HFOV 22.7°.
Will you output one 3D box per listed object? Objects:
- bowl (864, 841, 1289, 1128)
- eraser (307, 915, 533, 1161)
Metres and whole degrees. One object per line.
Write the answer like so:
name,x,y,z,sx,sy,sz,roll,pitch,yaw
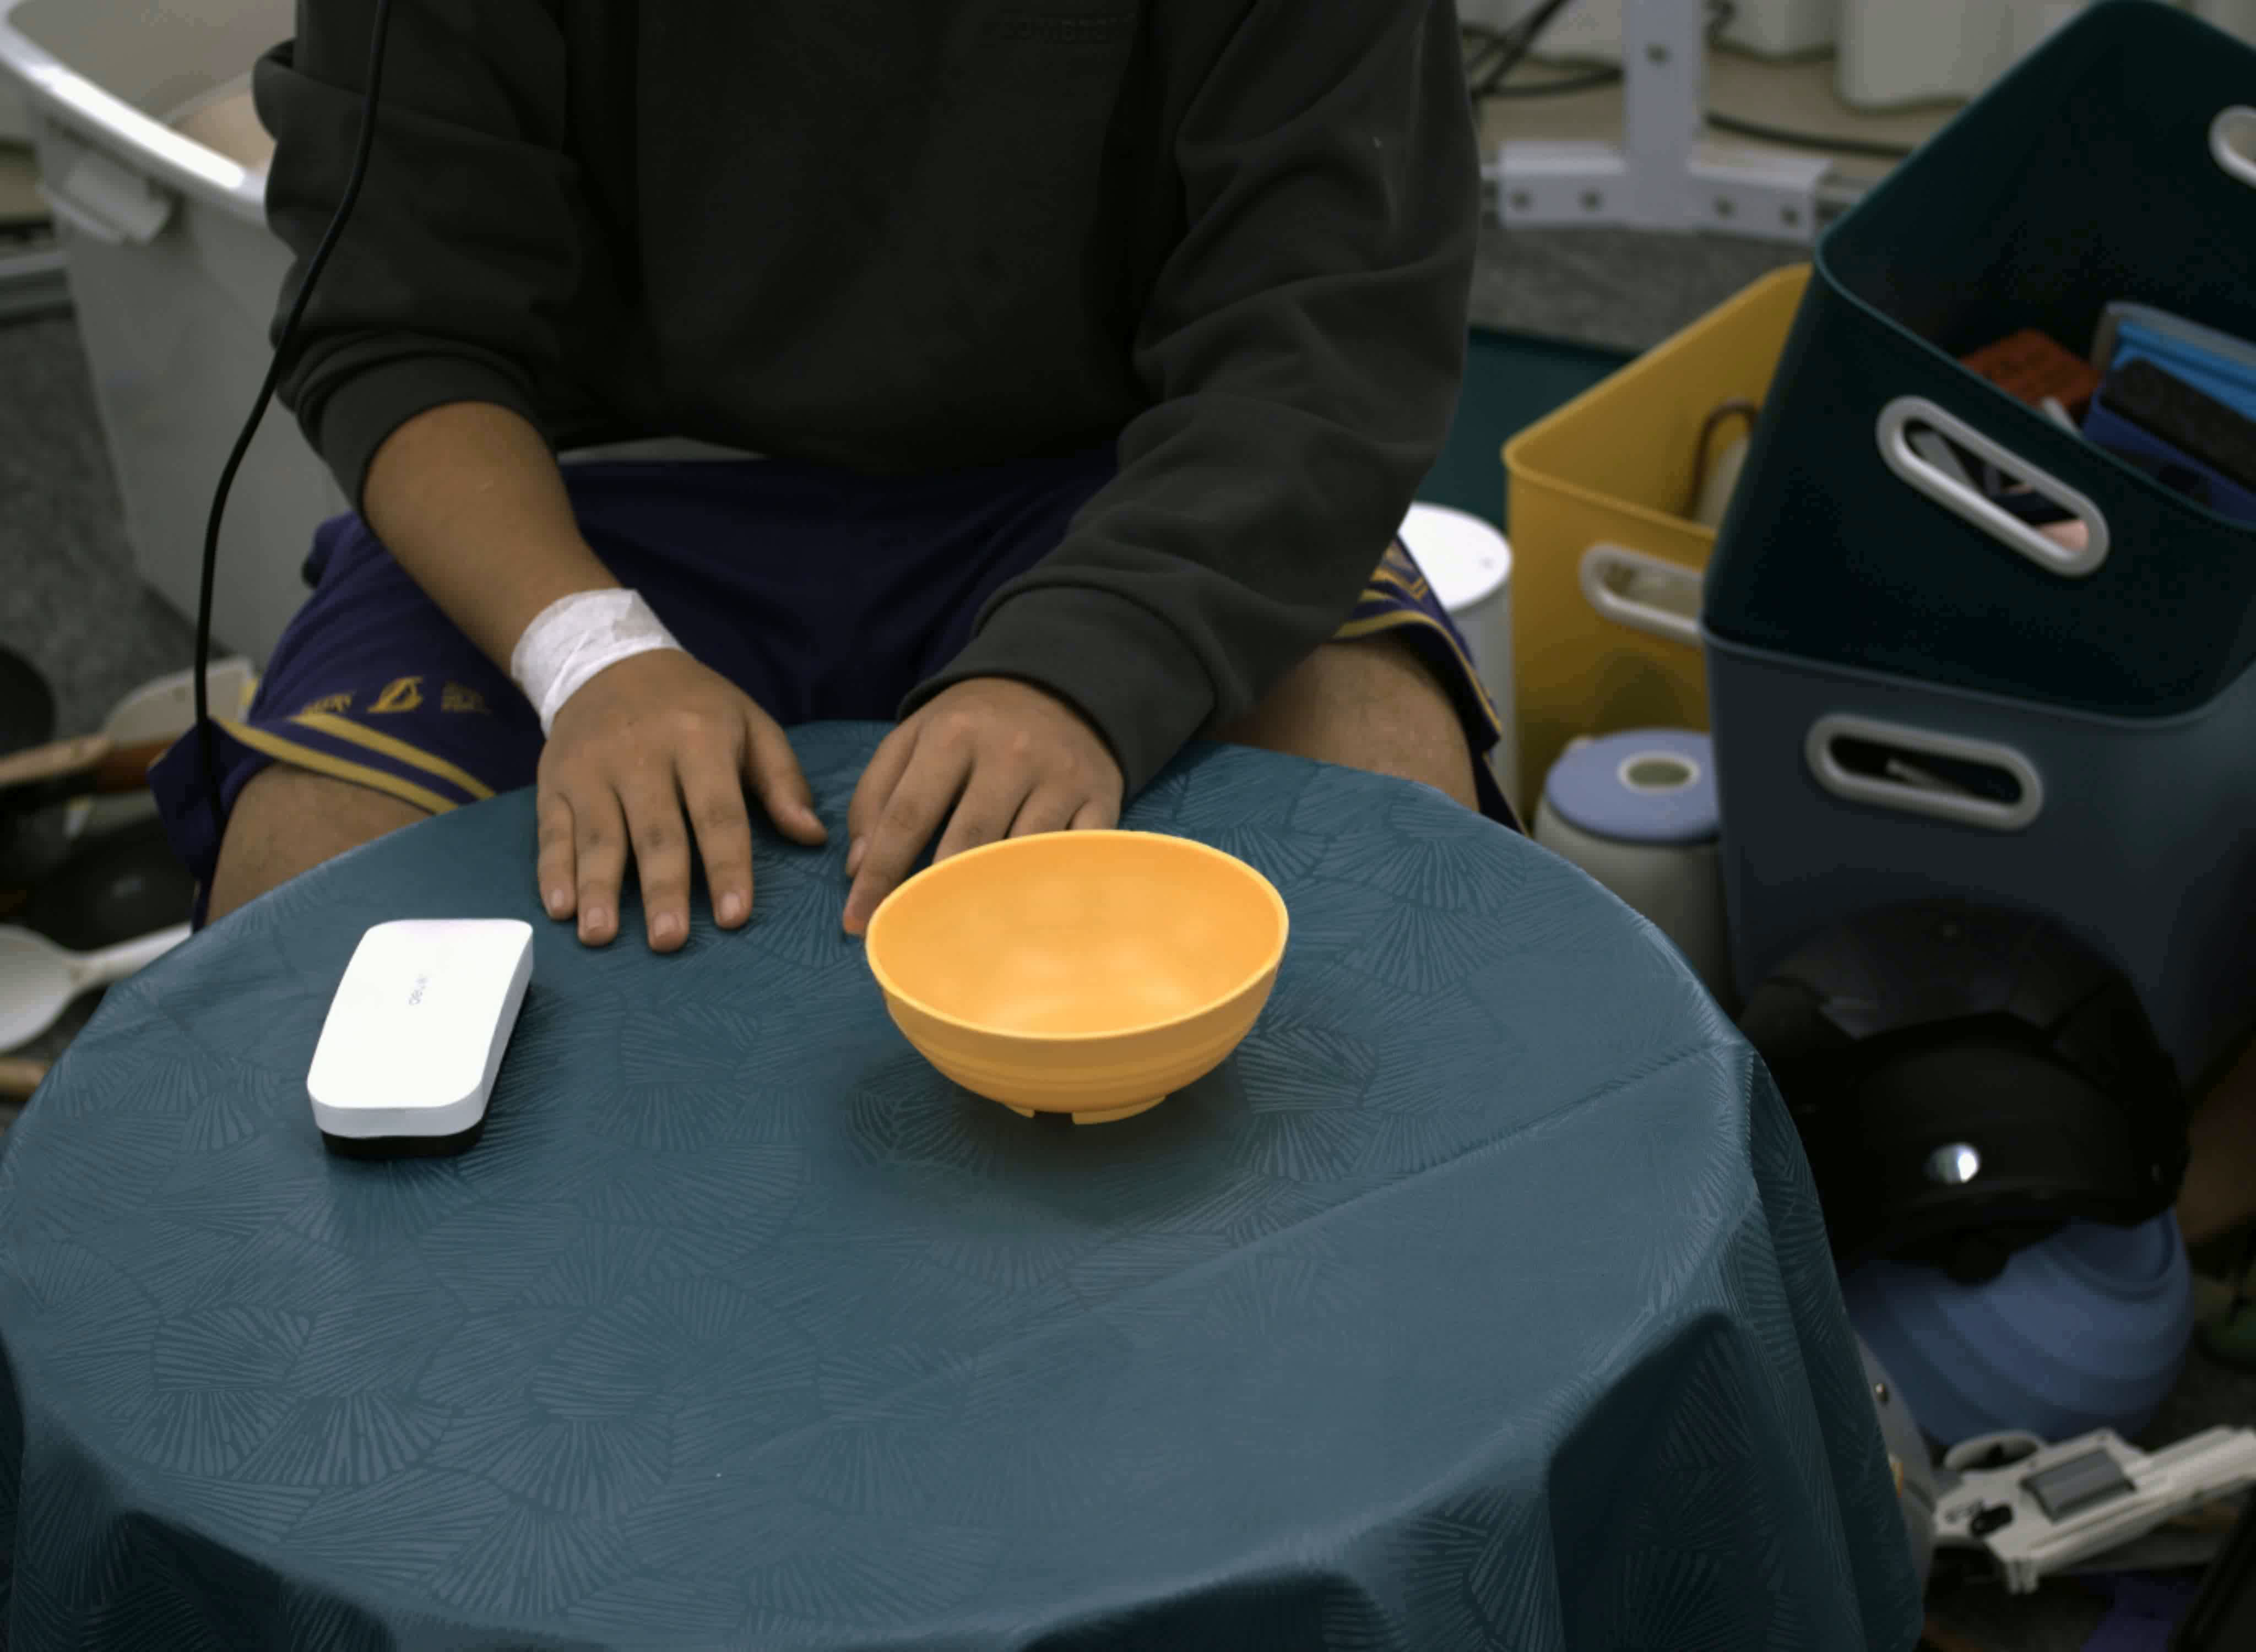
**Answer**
bowl,-0.017,0.063,1.919,0.144,0.059,0.147,-1,25,1
eraser,-0.243,0.070,1.951,0.063,0.034,0.133,1,29,5
